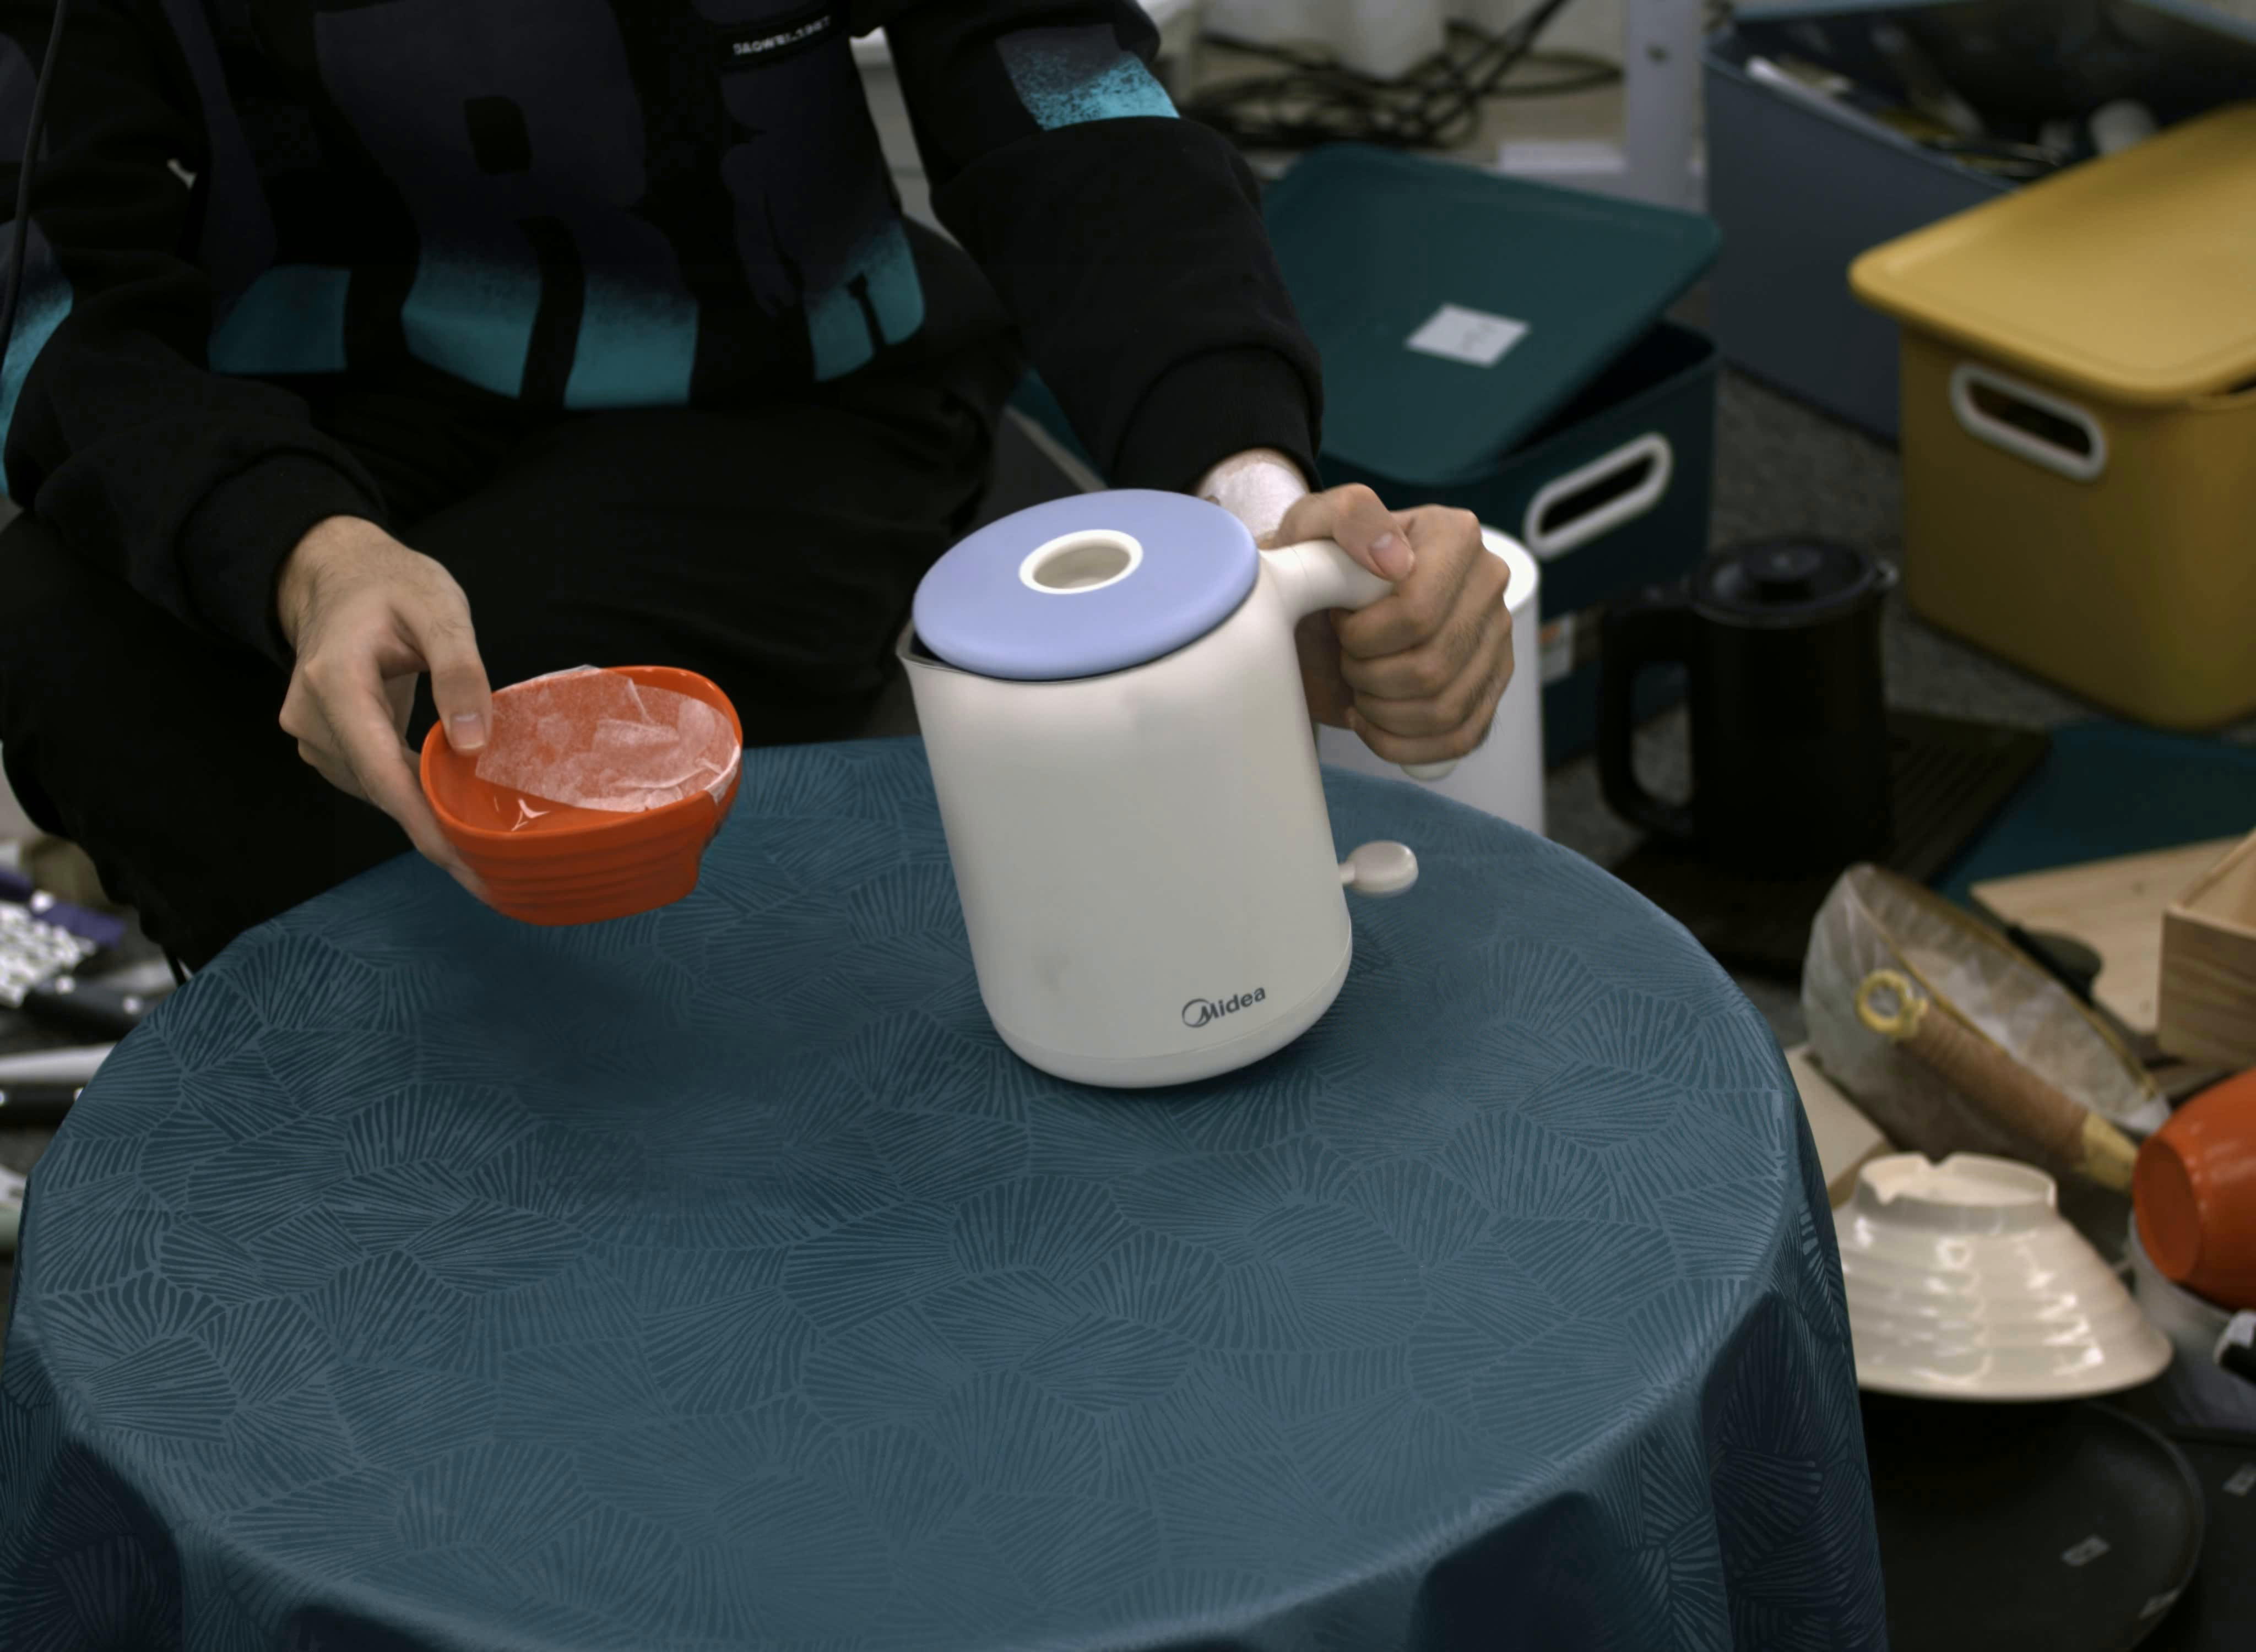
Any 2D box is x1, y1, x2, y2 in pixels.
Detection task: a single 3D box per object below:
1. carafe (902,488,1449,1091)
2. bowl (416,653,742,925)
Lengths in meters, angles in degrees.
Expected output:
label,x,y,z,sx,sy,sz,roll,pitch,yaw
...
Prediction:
label,x,y,z,sx,sy,sz,roll,pitch,yaw
carafe,0.022,-0.020,1.929,0.191,0.180,0.133,-17,31,-16
bowl,-0.183,-0.008,1.910,0.118,0.051,0.121,-5,32,4
